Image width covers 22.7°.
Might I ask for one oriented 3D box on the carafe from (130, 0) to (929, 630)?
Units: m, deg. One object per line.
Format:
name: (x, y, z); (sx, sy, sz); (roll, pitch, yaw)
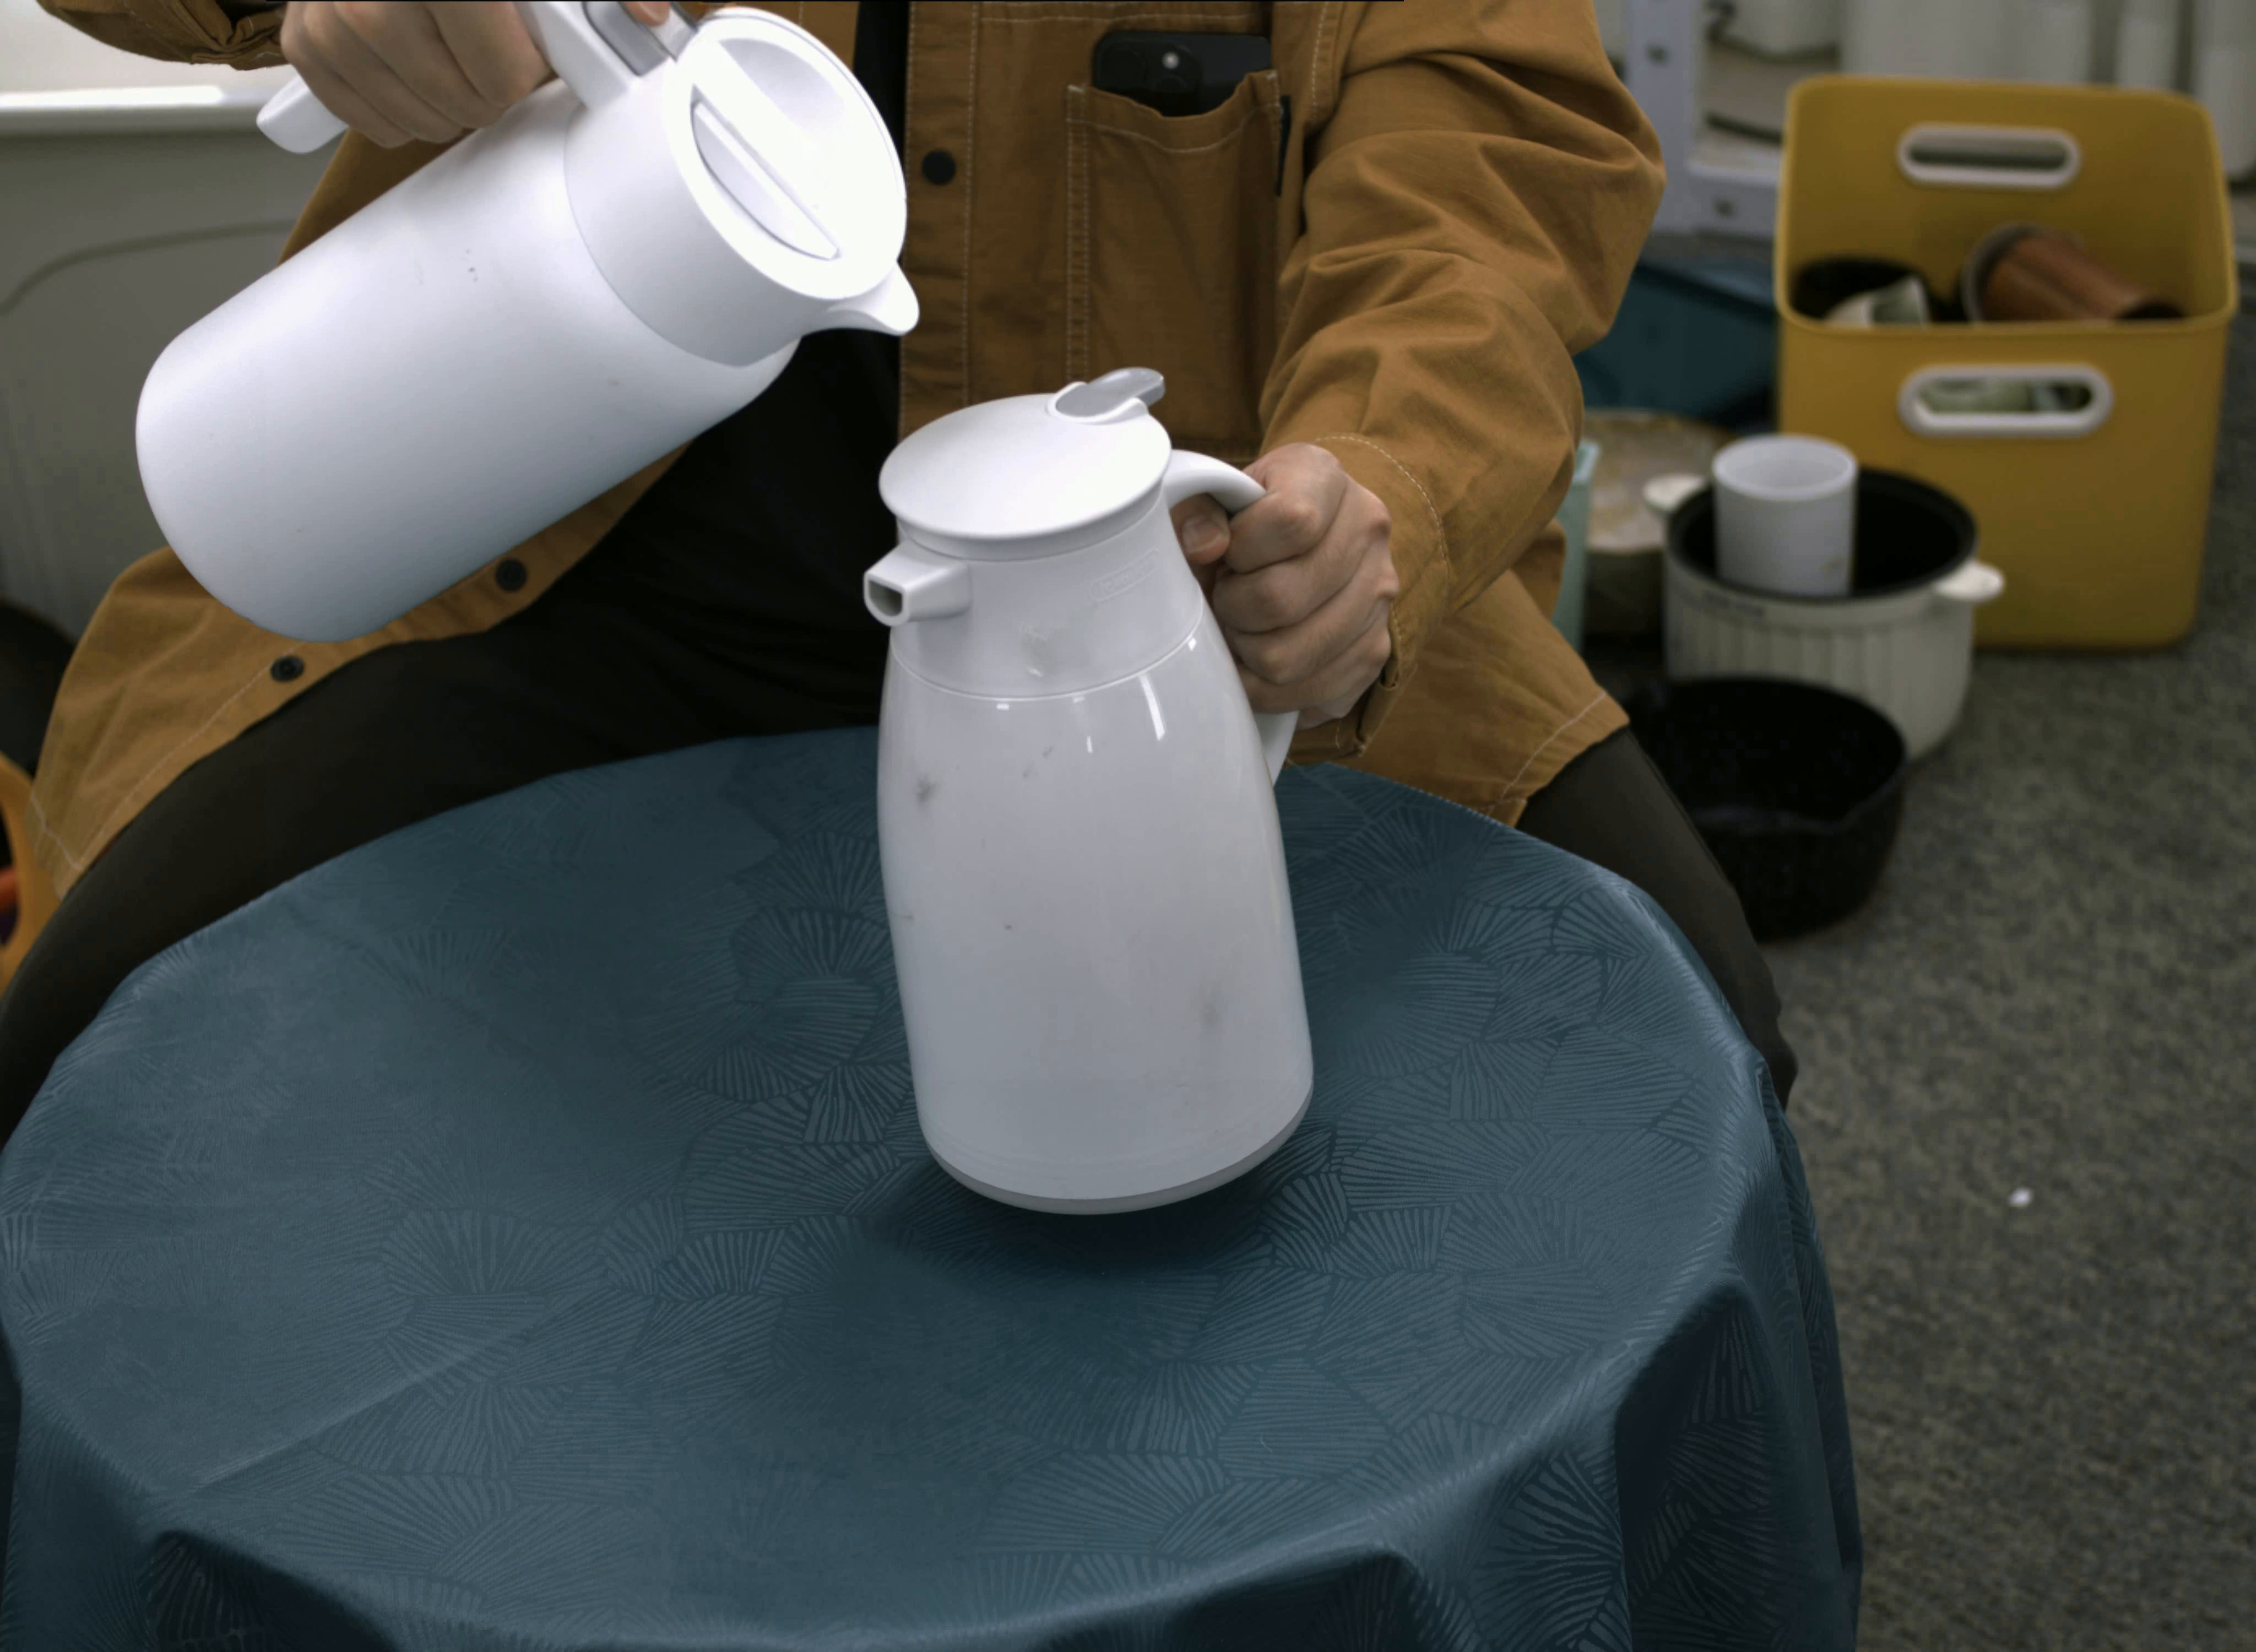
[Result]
carafe: (-0.206, -0.173, 1.782); (0.264, 0.172, 0.126); (-26, 24, 40)

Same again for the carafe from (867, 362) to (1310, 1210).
carafe: (-0.006, -0.024, 1.806); (0.132, 0.246, 0.170); (21, 39, 41)
